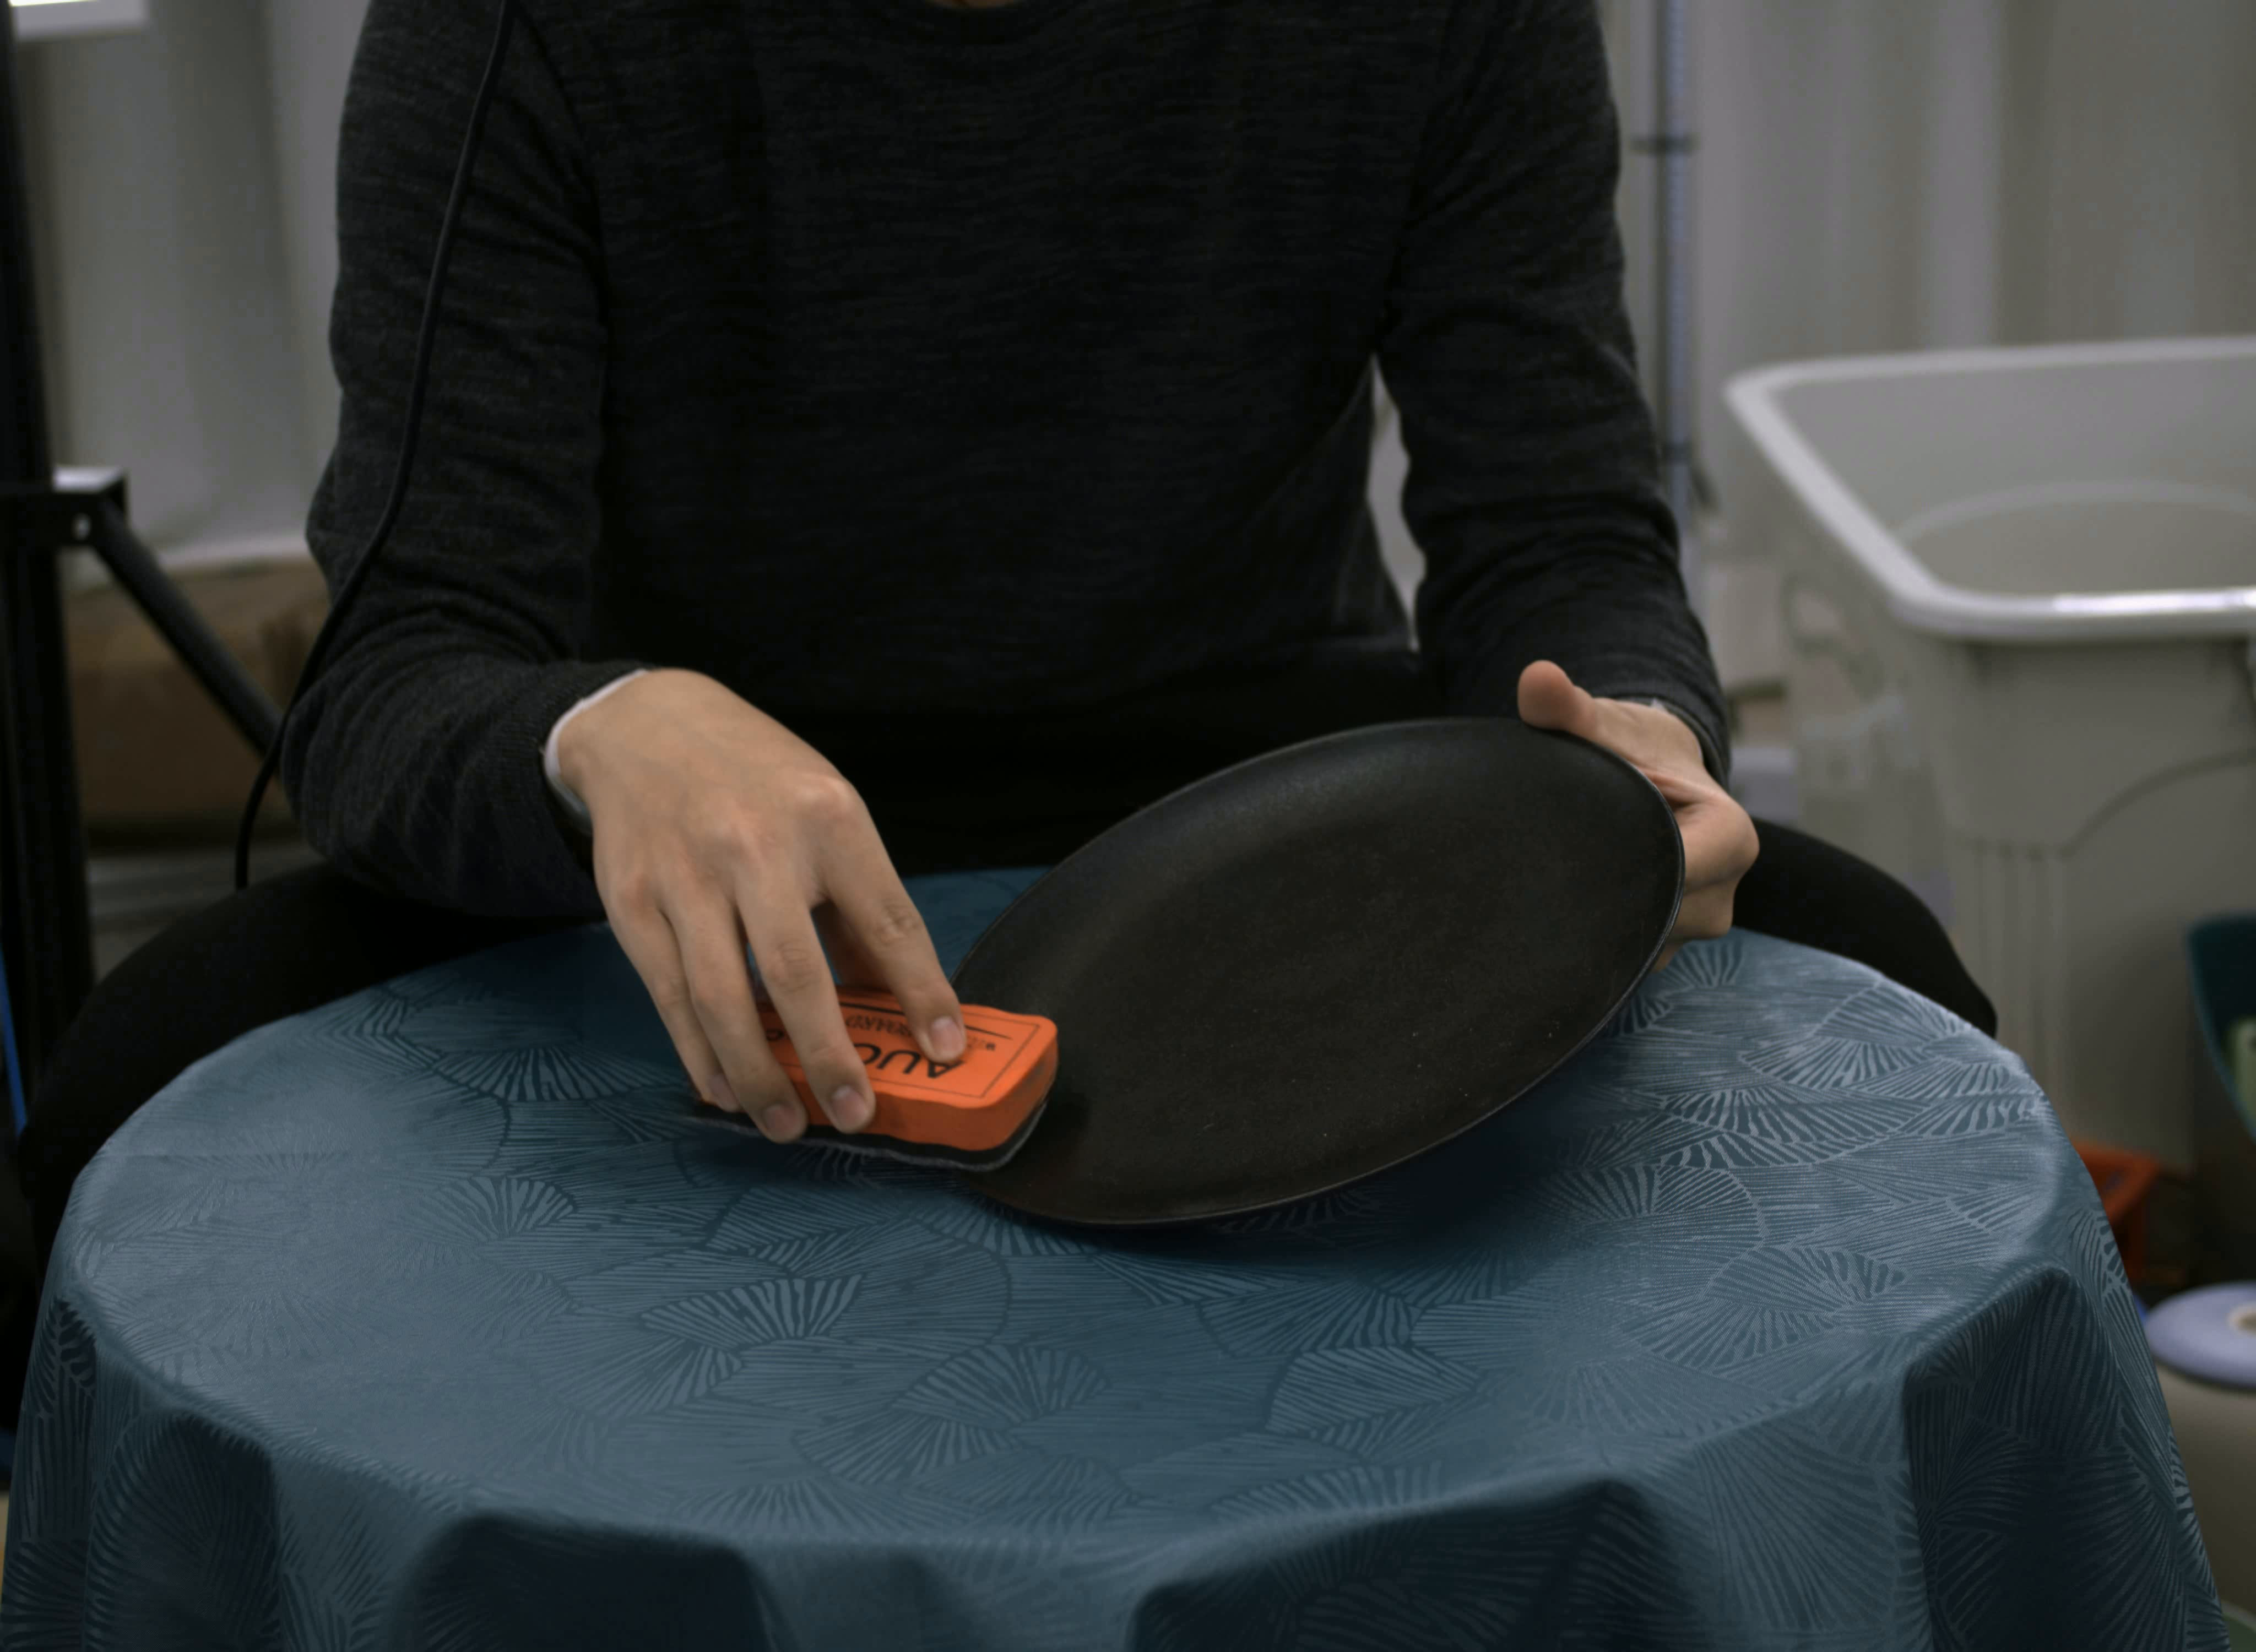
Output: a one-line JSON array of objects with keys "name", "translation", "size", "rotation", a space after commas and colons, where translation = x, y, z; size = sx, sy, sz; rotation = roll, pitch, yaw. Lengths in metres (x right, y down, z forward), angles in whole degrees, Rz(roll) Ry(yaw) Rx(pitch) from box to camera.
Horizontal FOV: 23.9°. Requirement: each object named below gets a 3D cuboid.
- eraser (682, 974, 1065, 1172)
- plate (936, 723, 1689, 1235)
[{"name": "eraser", "translation": [-0.076, 0.073, 1.592], "size": [0.109, 0.023, 0.058], "rotation": [9, 28, 25]}, {"name": "plate", "translation": [0.053, 0.049, 1.589], "size": [0.245, 0.023, 0.246], "rotation": [-19, 30, 9]}]
